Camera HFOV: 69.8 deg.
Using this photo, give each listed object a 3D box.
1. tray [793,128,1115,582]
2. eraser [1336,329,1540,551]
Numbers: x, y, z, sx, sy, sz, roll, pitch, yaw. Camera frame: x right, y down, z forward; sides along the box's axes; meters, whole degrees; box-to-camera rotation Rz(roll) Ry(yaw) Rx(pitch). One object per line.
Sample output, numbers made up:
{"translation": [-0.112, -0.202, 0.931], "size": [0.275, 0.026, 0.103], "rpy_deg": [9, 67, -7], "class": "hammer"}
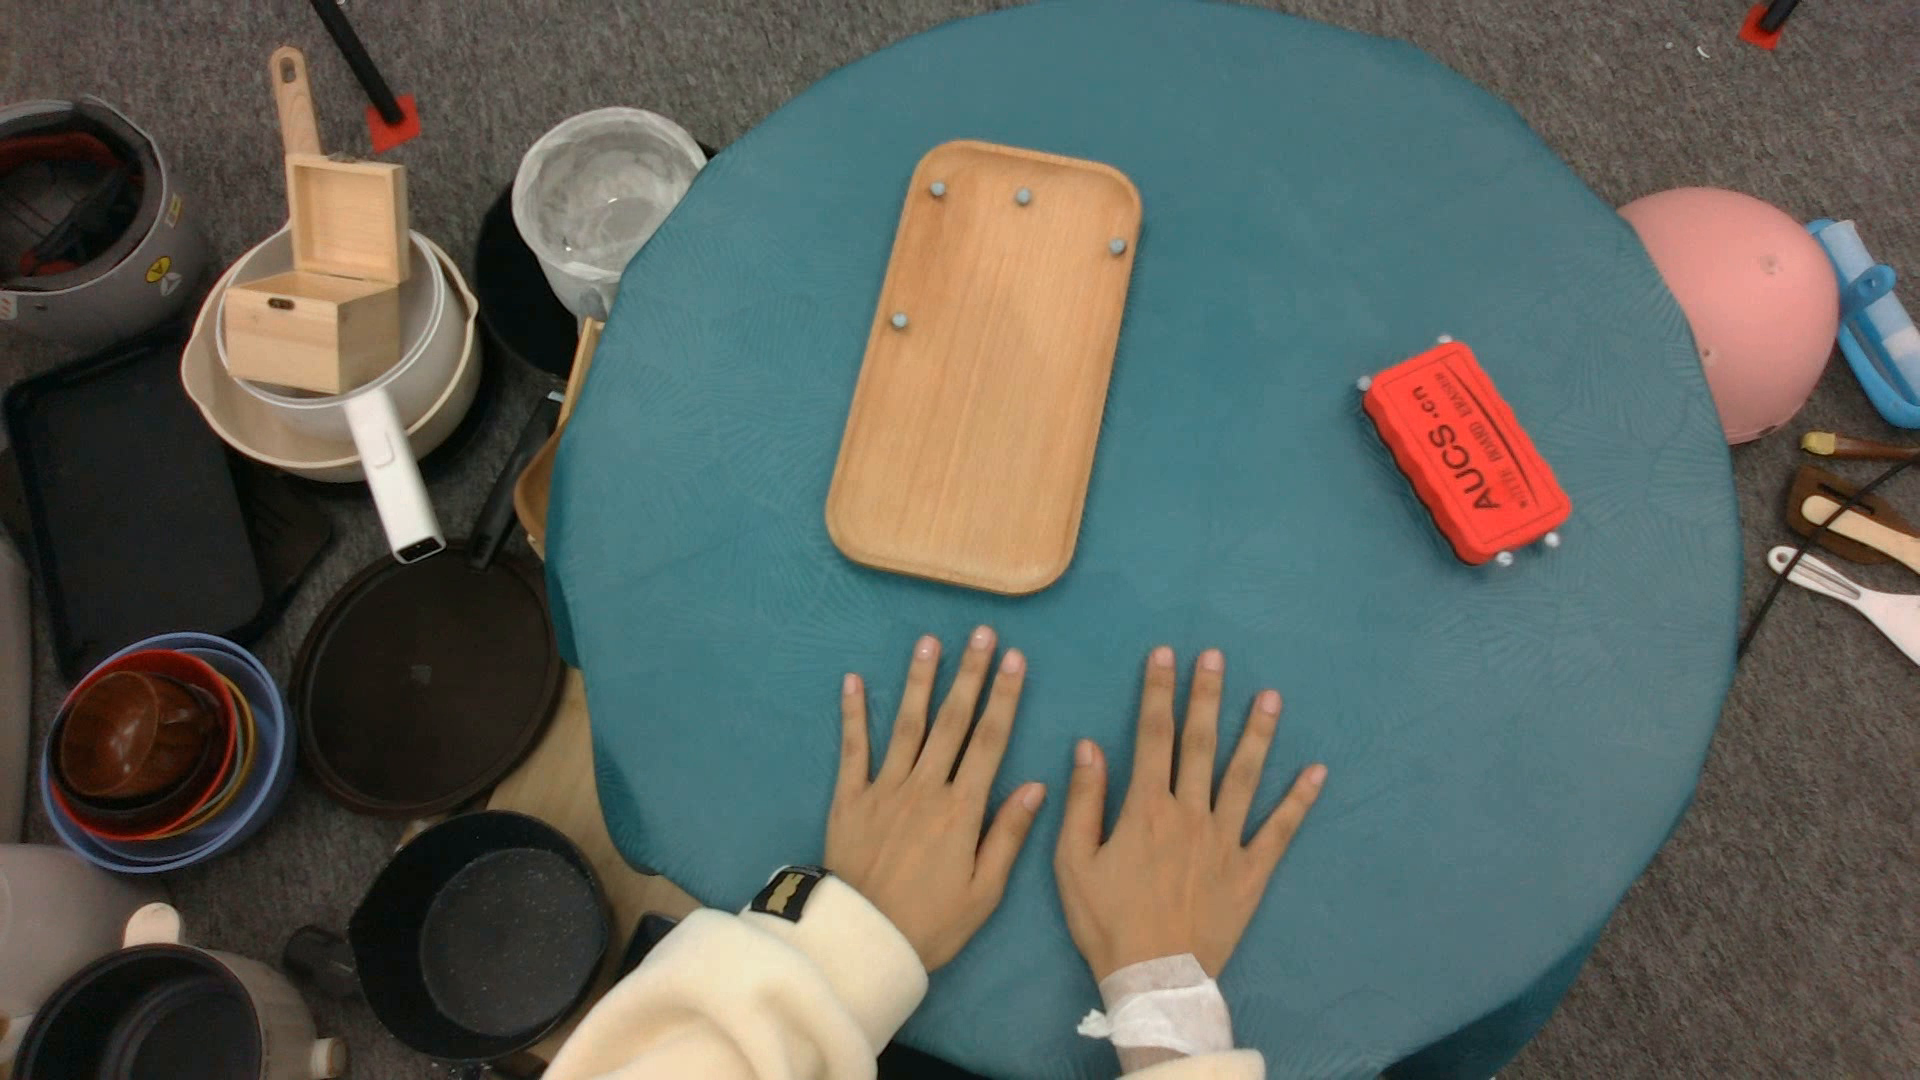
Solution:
{"translation": [0.001, -0.101, 0.718], "size": [0.130, 0.023, 0.251], "rpy_deg": [11, 71, 6], "class": "tray"}
{"translation": [0.242, -0.052, 0.702], "size": [0.059, 0.023, 0.108], "rpy_deg": [-24, 72, -10], "class": "eraser"}
